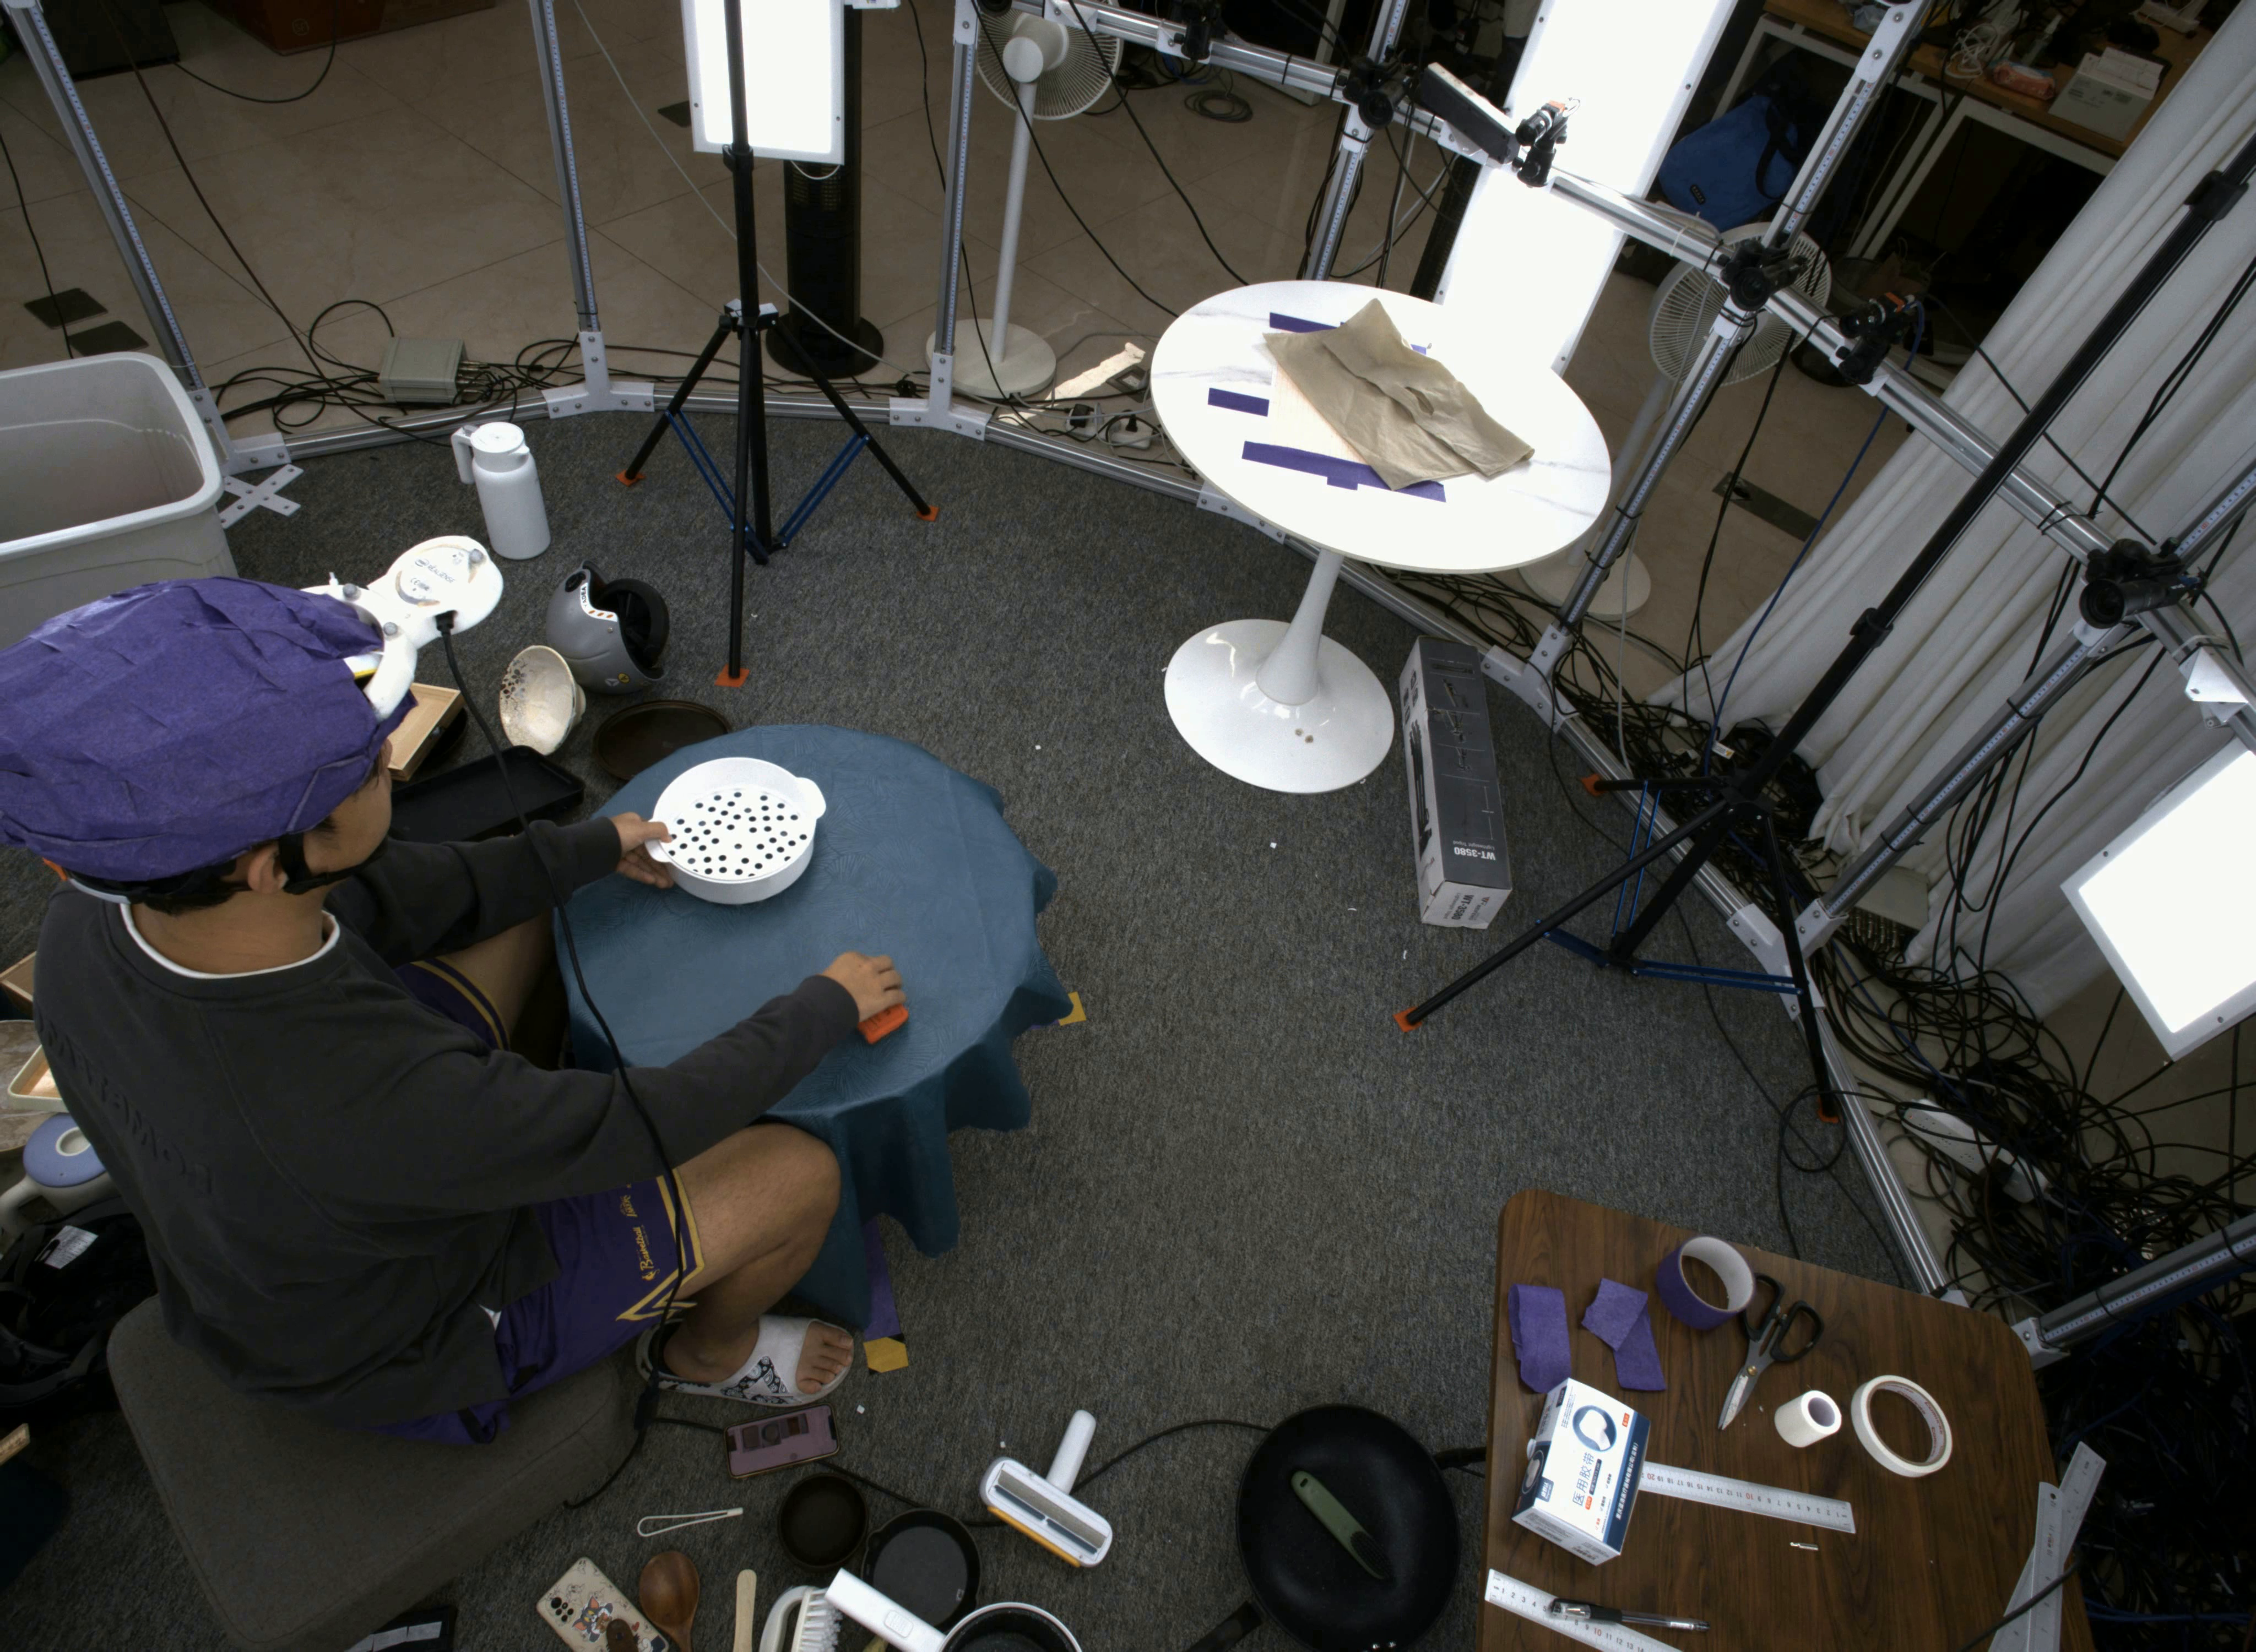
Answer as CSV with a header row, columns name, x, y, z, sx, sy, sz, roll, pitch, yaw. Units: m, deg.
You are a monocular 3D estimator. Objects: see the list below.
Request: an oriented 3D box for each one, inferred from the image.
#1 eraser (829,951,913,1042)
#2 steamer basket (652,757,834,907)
name,x,y,z,sx,sy,sz,roll,pitch,yaw
eraser,-0.312,0.204,1.577,0.059,0.023,0.106,-34,70,-22
steamer basket,-0.493,0.007,1.665,0.232,0.070,0.197,-19,61,-26
